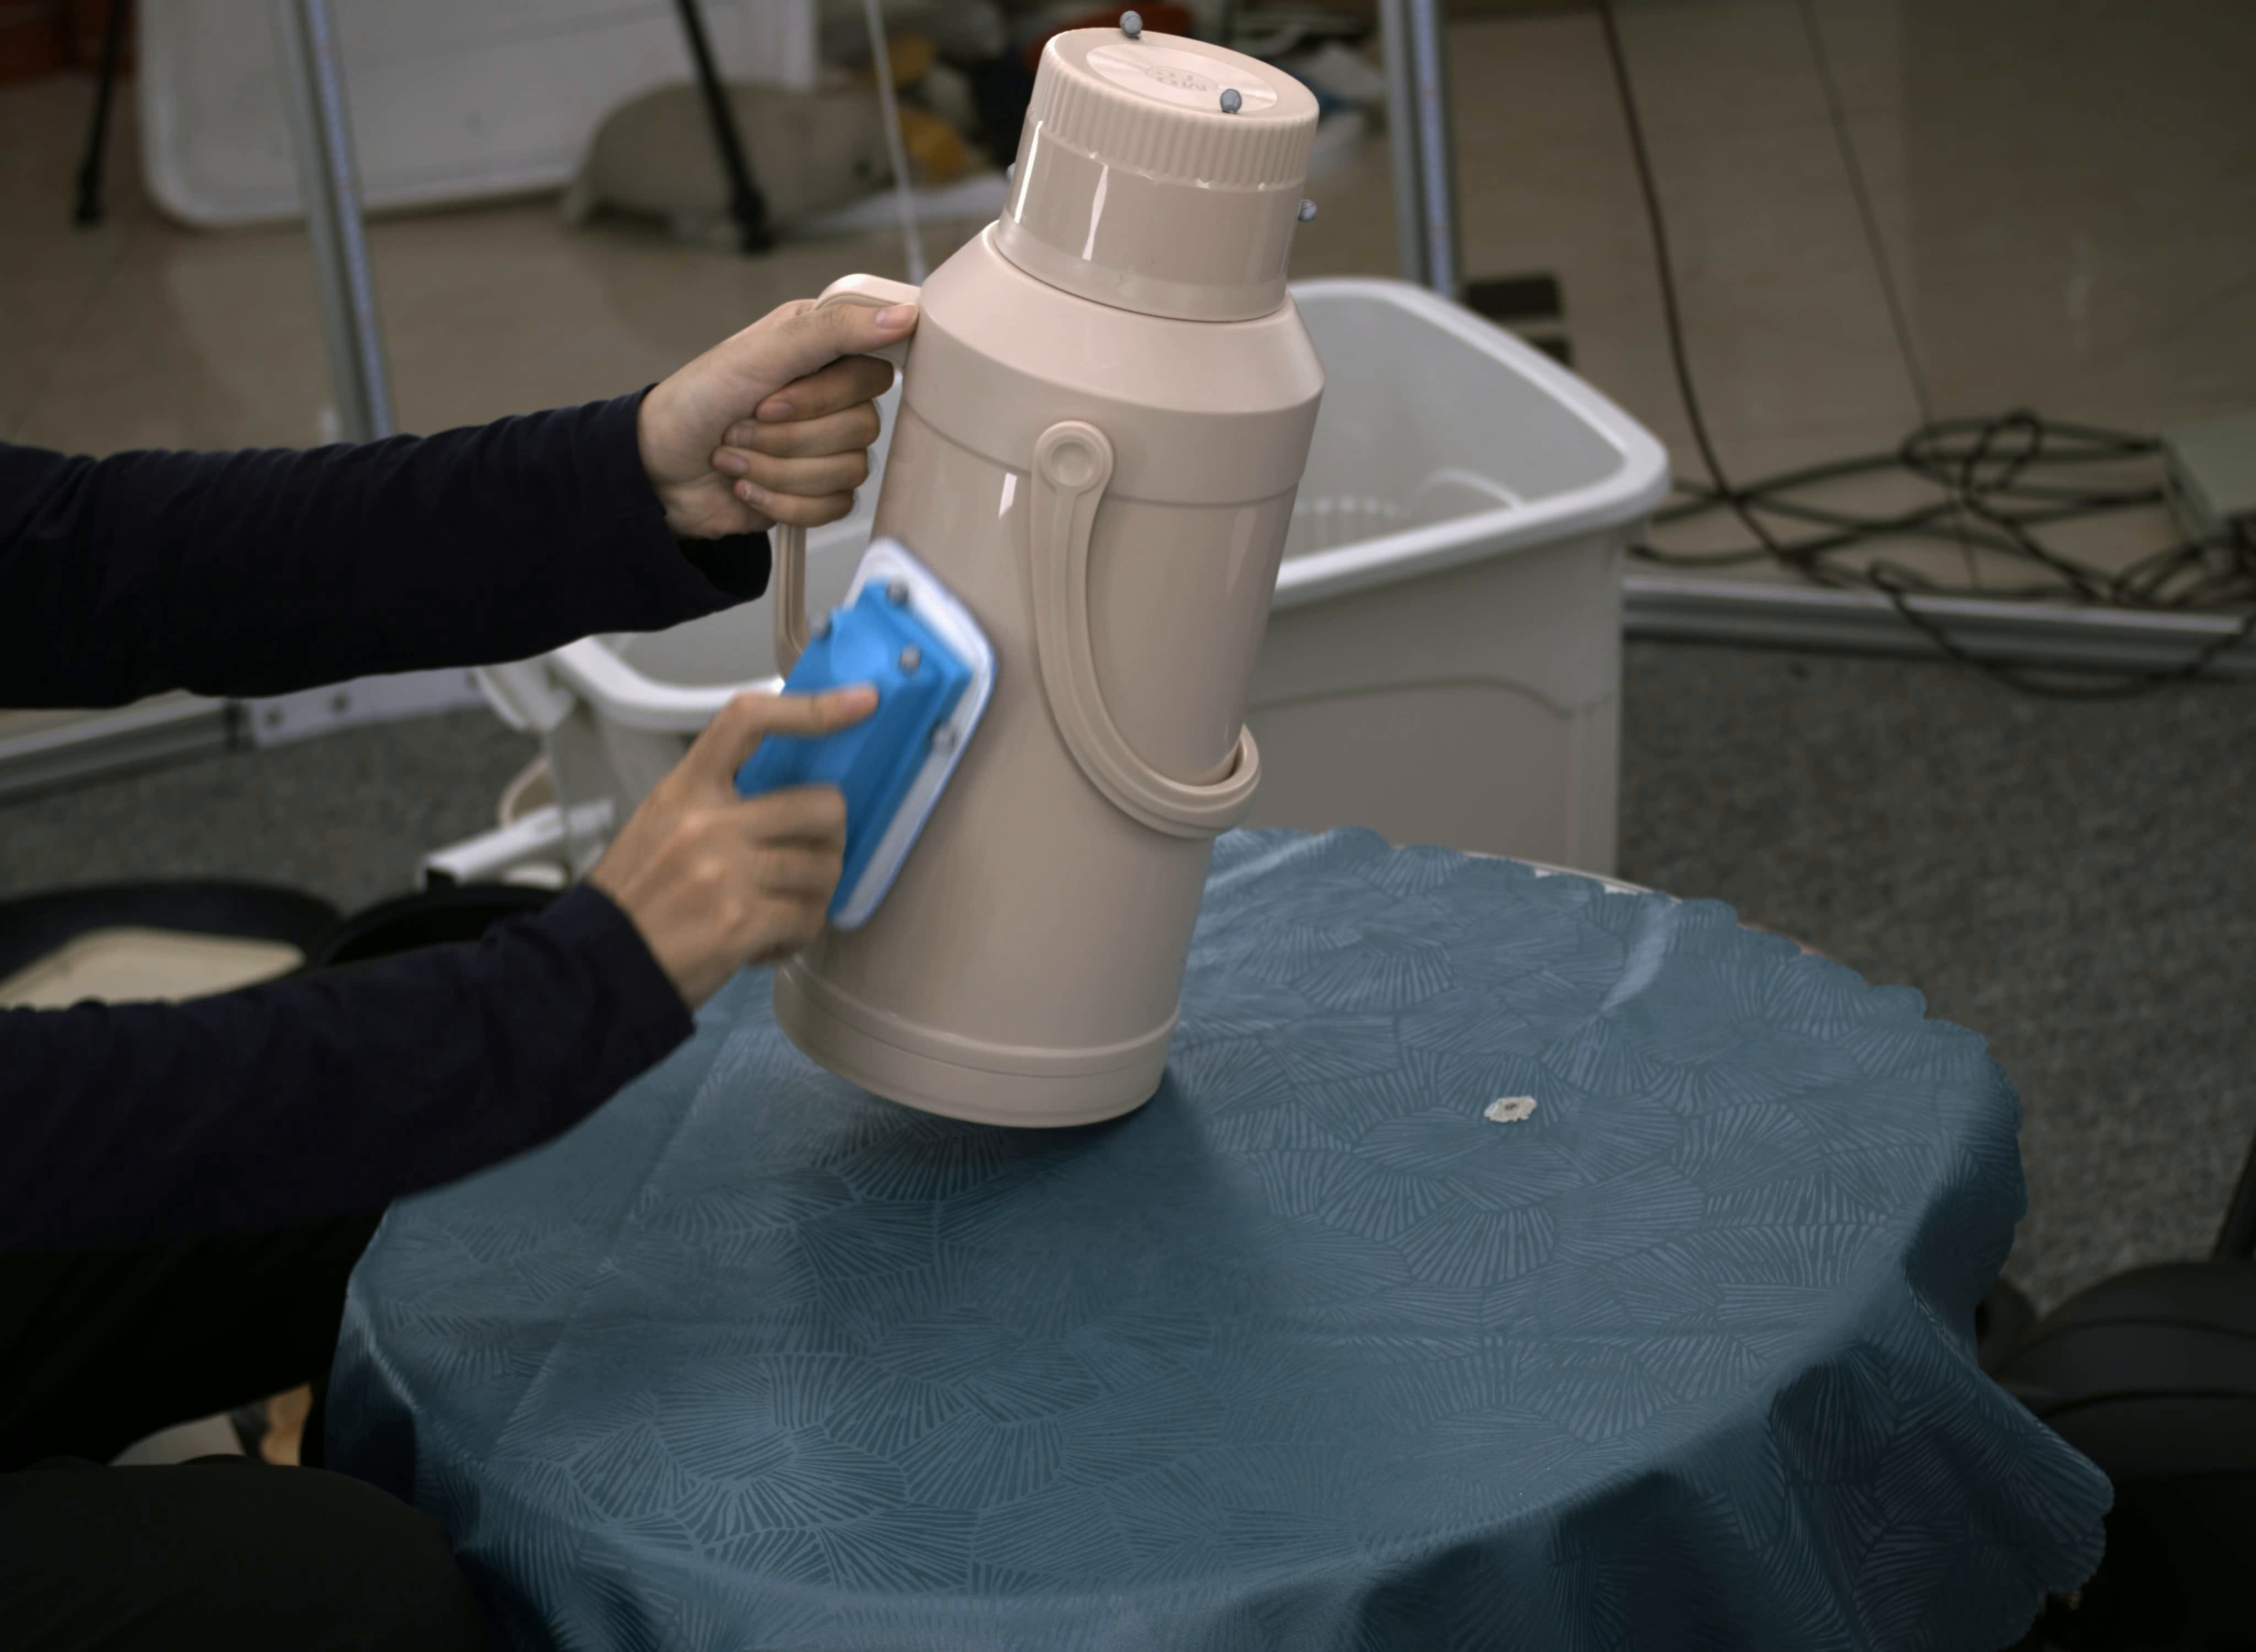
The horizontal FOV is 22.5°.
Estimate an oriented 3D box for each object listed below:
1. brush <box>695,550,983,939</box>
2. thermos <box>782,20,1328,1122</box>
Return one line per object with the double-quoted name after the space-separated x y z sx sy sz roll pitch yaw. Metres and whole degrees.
-0.112 -0.030 2.102 0.056 0.146 0.083 -6 48 -47 "brush"
-0.033 -0.101 2.153 0.206 0.412 0.173 13 26 3 "thermos"
